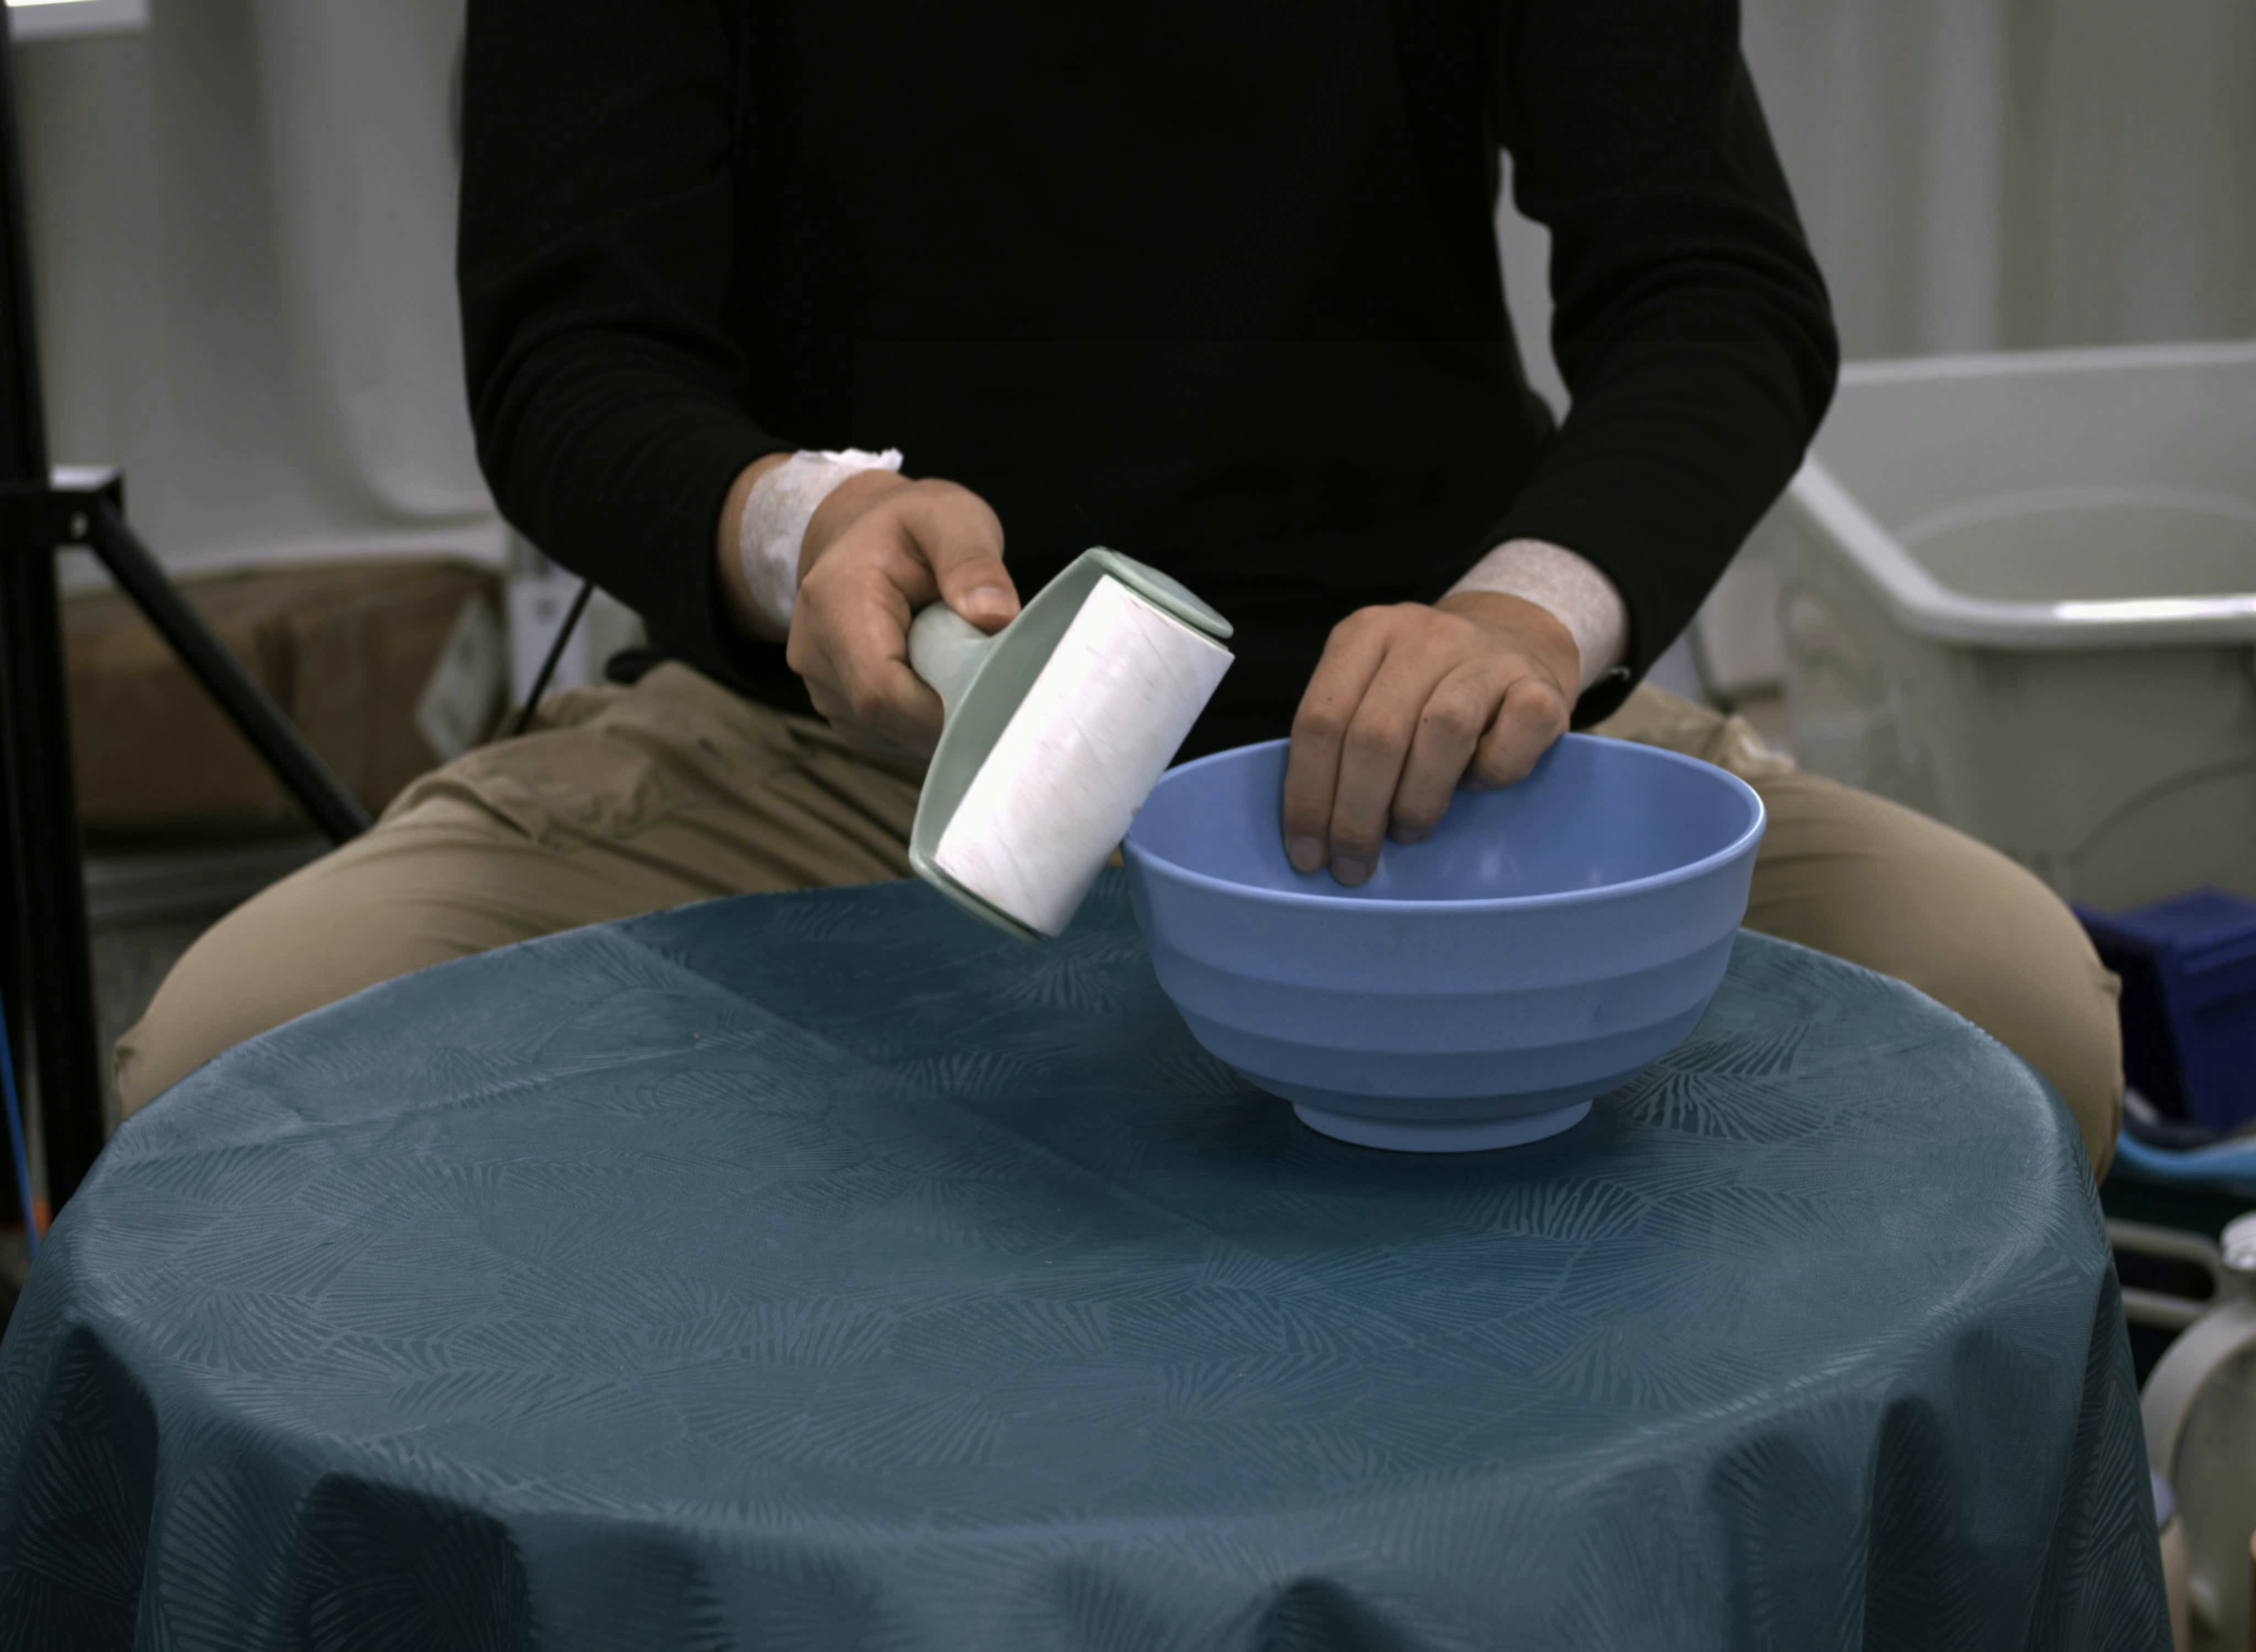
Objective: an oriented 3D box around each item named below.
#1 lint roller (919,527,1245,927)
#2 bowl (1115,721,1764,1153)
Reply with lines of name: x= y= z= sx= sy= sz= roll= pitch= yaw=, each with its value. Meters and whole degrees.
lint roller: x=-0.034 y=-0.046 z=1.641 sx=0.047 sy=0.117 sz=0.201 roll=29 pitch=4 yaw=-25
bowl: x=0.094 y=0.039 z=1.606 sx=0.195 sy=0.095 sz=0.197 roll=-3 pitch=17 yaw=0
